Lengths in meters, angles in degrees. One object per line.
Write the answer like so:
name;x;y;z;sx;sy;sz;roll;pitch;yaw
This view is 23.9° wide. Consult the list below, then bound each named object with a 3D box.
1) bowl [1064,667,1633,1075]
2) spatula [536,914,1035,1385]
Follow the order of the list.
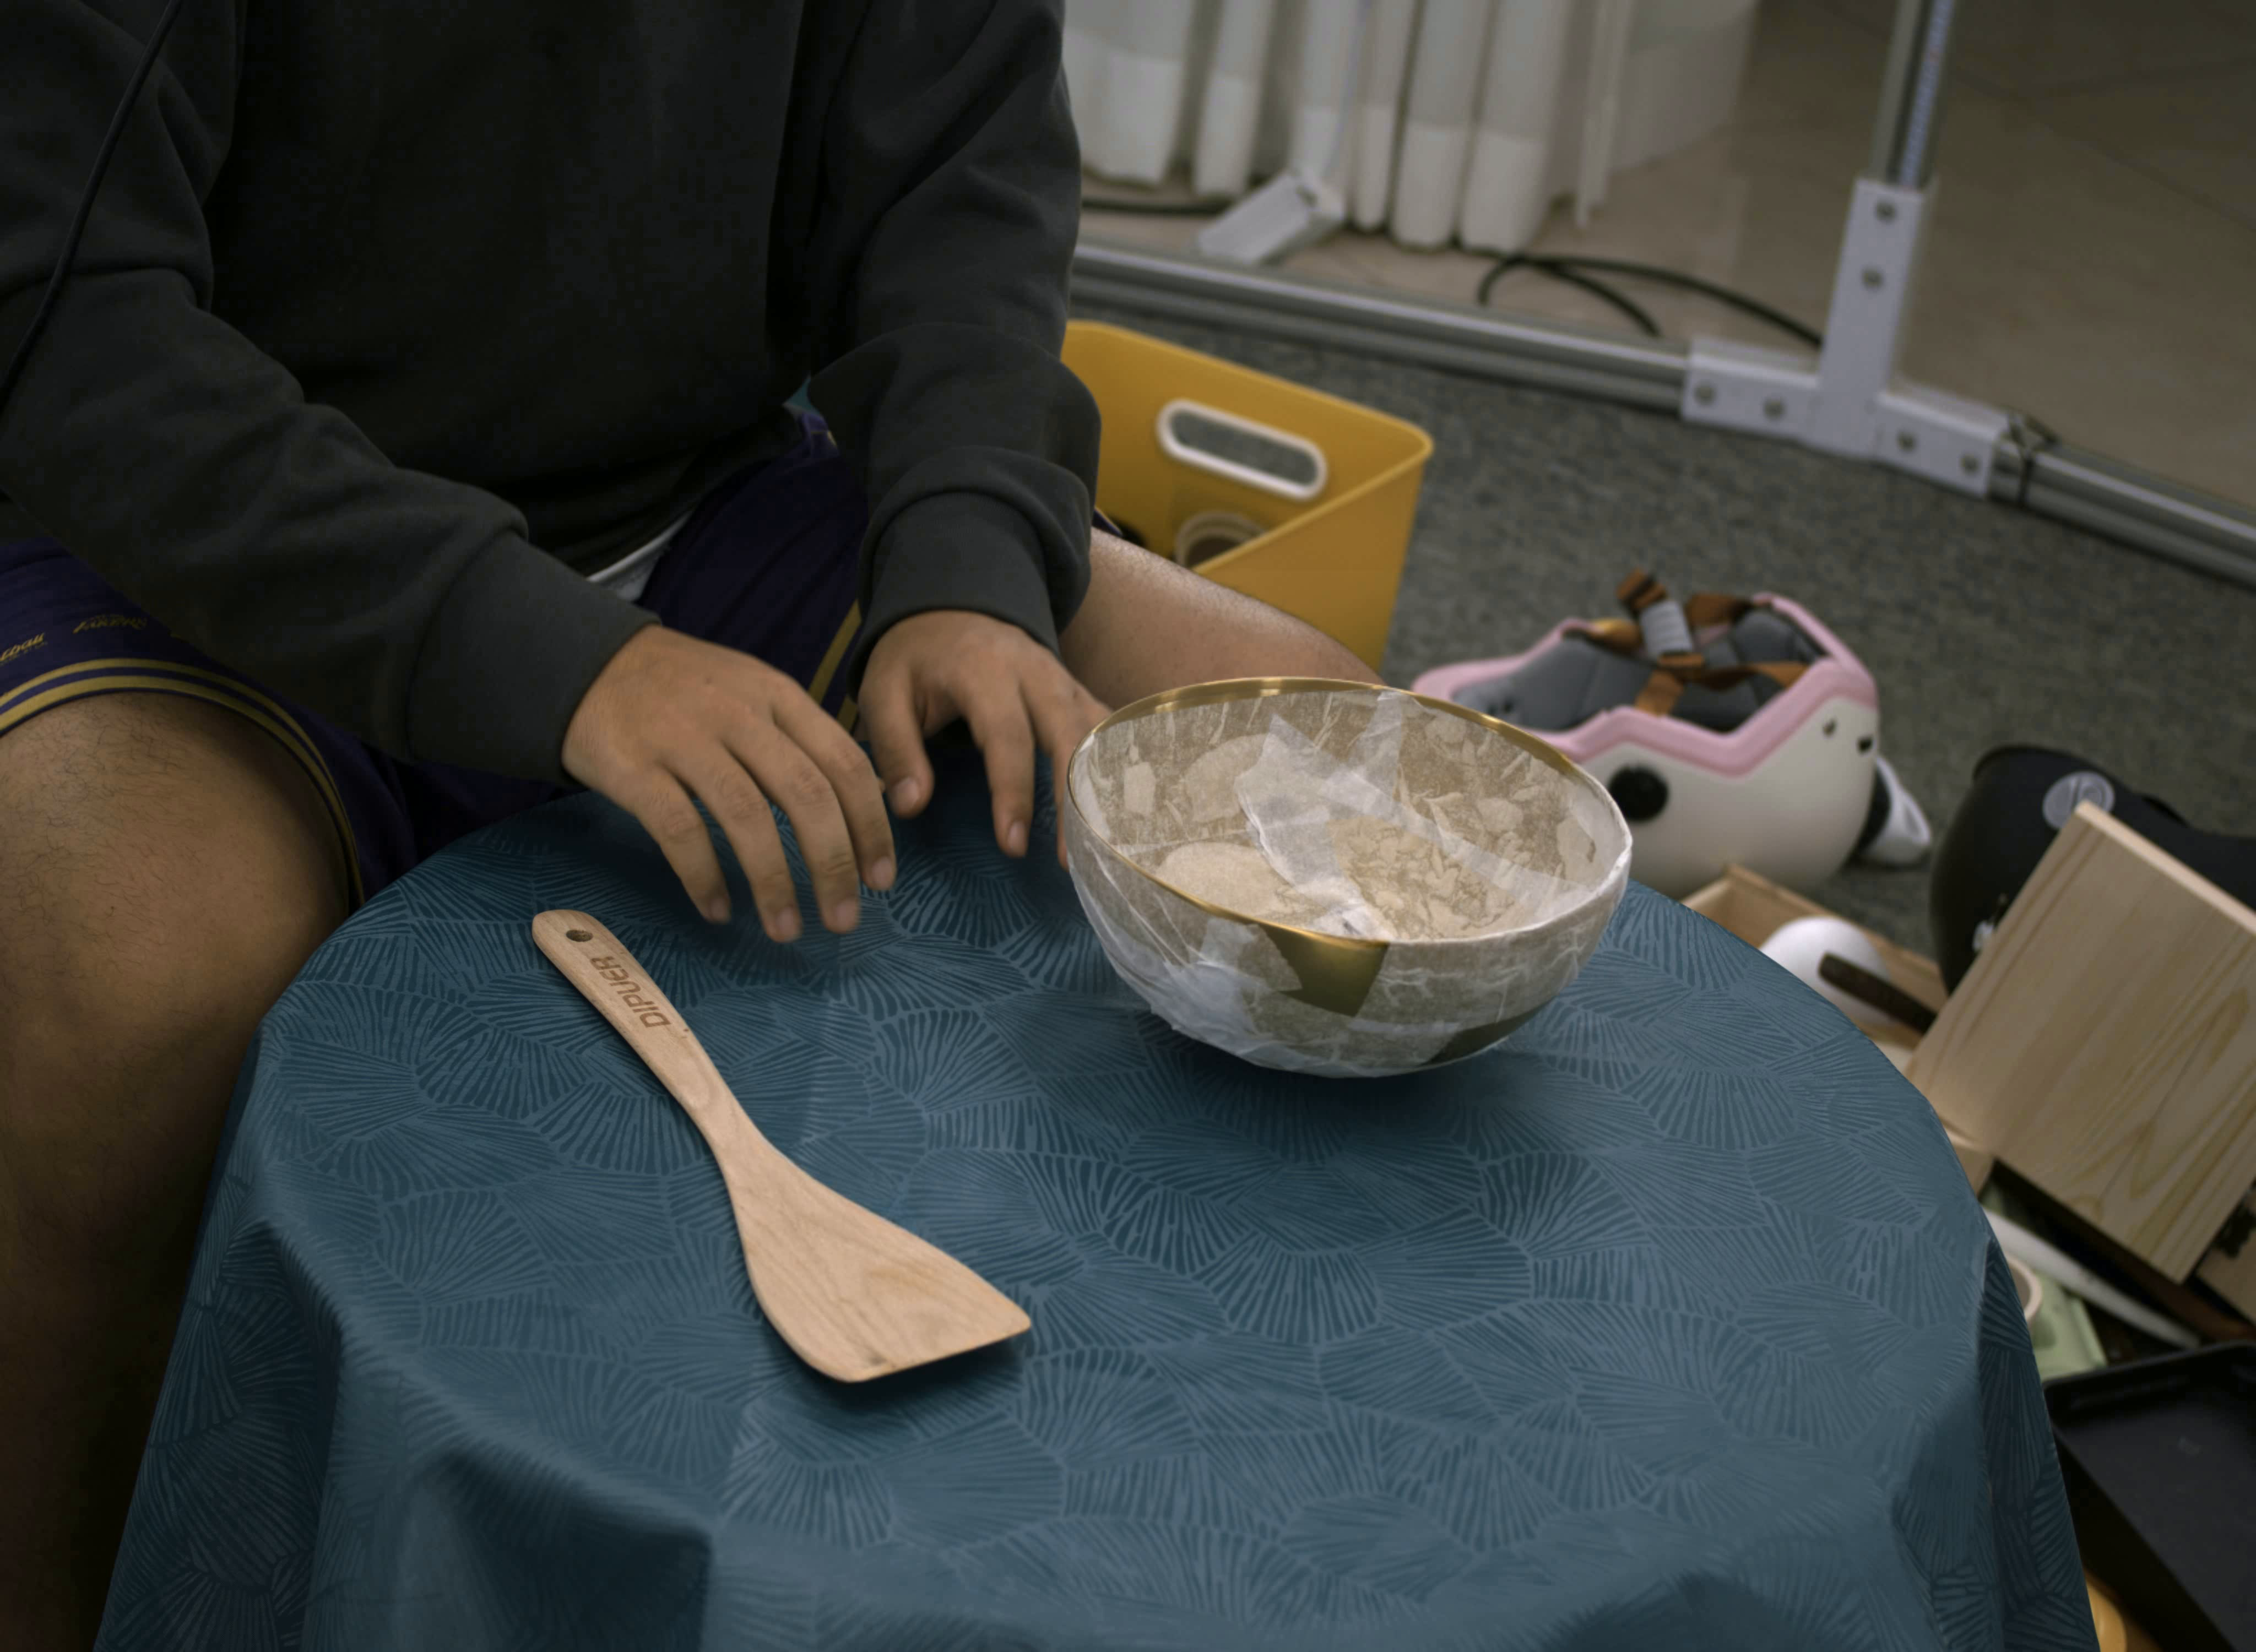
bowl;0.071;0.027;1.901;0.214;0.094;0.216;5;28;-3
spatula;-0.130;0.103;1.796;0.079;0.016;0.330;-8;30;-26
